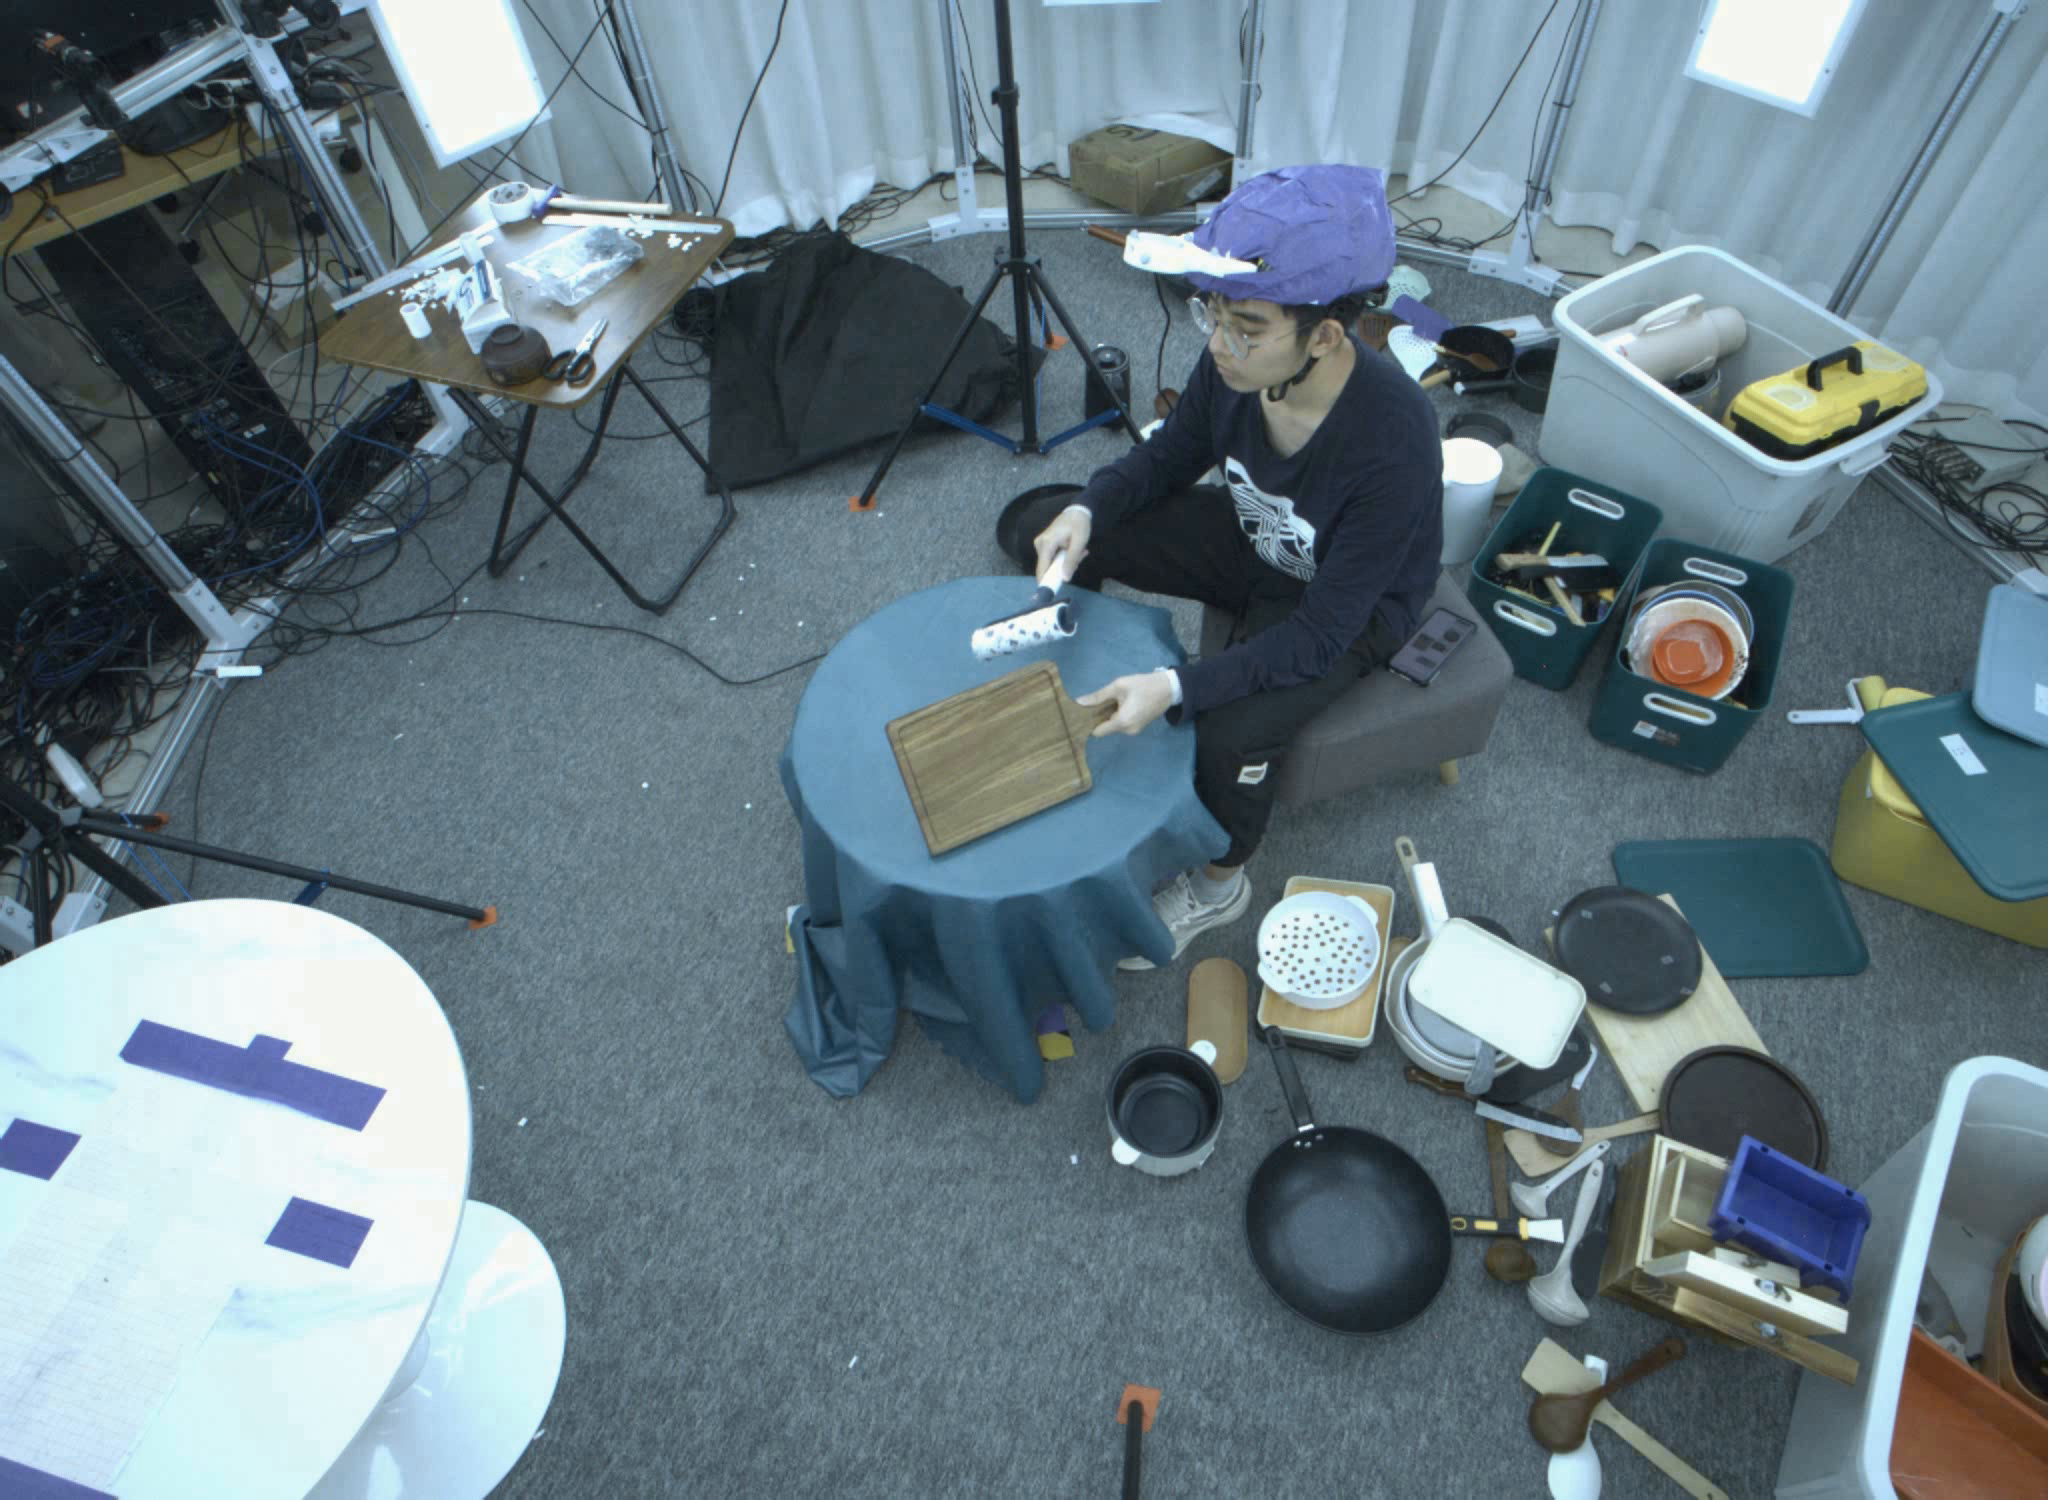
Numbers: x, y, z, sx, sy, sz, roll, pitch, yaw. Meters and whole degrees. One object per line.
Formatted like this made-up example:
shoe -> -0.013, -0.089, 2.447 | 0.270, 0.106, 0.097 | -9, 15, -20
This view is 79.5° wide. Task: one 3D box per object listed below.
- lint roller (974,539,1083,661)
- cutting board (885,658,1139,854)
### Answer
lint roller -> 0.033, -0.239, 1.821 | 0.173, 0.051, 0.247 | -15, 37, 40
cutting board -> 0.001, -0.010, 1.698 | 0.355, 0.203, 0.023 | -23, 21, -15
